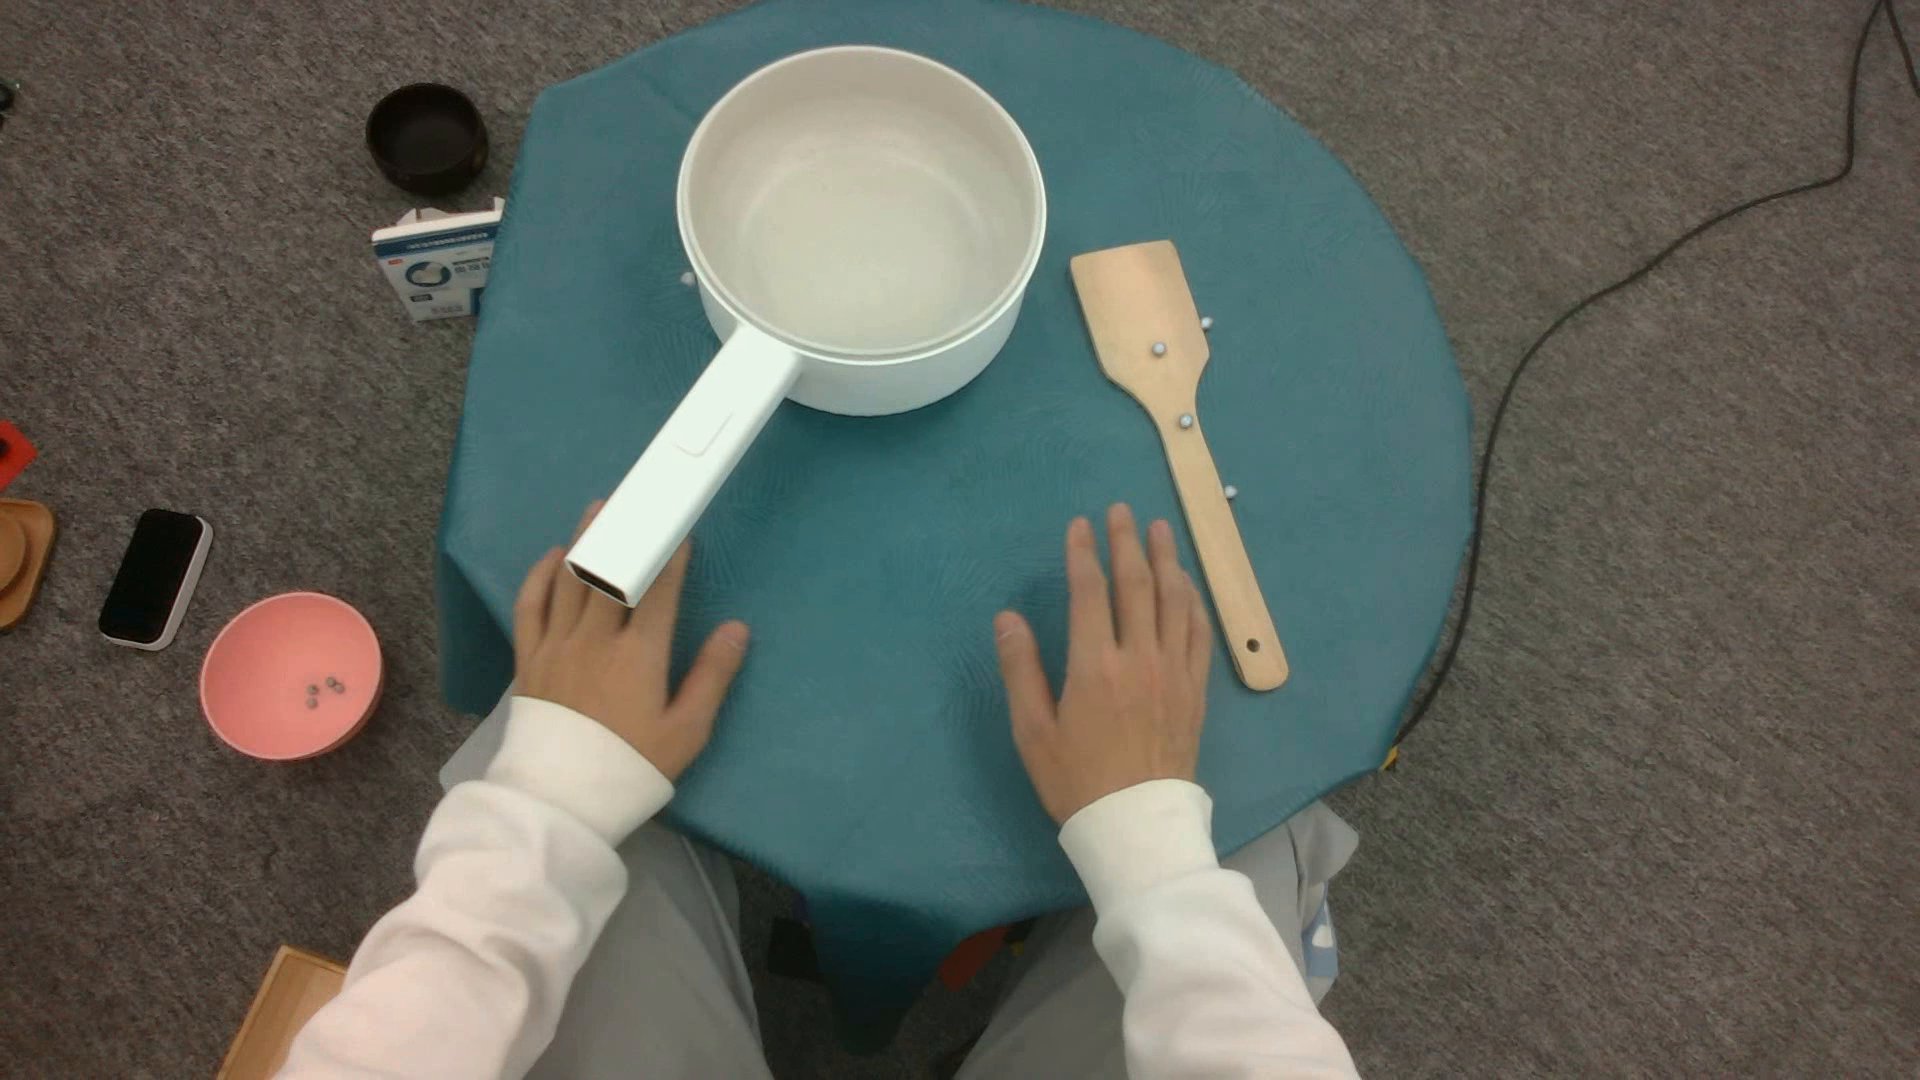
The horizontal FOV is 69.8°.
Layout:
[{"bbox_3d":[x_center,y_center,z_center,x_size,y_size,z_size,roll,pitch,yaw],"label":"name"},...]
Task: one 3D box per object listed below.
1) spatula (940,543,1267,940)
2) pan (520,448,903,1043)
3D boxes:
[{"bbox_3d":[0.090,0.117,0.840,0.072,0.010,0.293,-26,58,-18],"label":"spatula"},{"bbox_3d":[-0.151,0.114,0.793,0.201,0.101,0.356,11,57,8],"label":"pan"}]
